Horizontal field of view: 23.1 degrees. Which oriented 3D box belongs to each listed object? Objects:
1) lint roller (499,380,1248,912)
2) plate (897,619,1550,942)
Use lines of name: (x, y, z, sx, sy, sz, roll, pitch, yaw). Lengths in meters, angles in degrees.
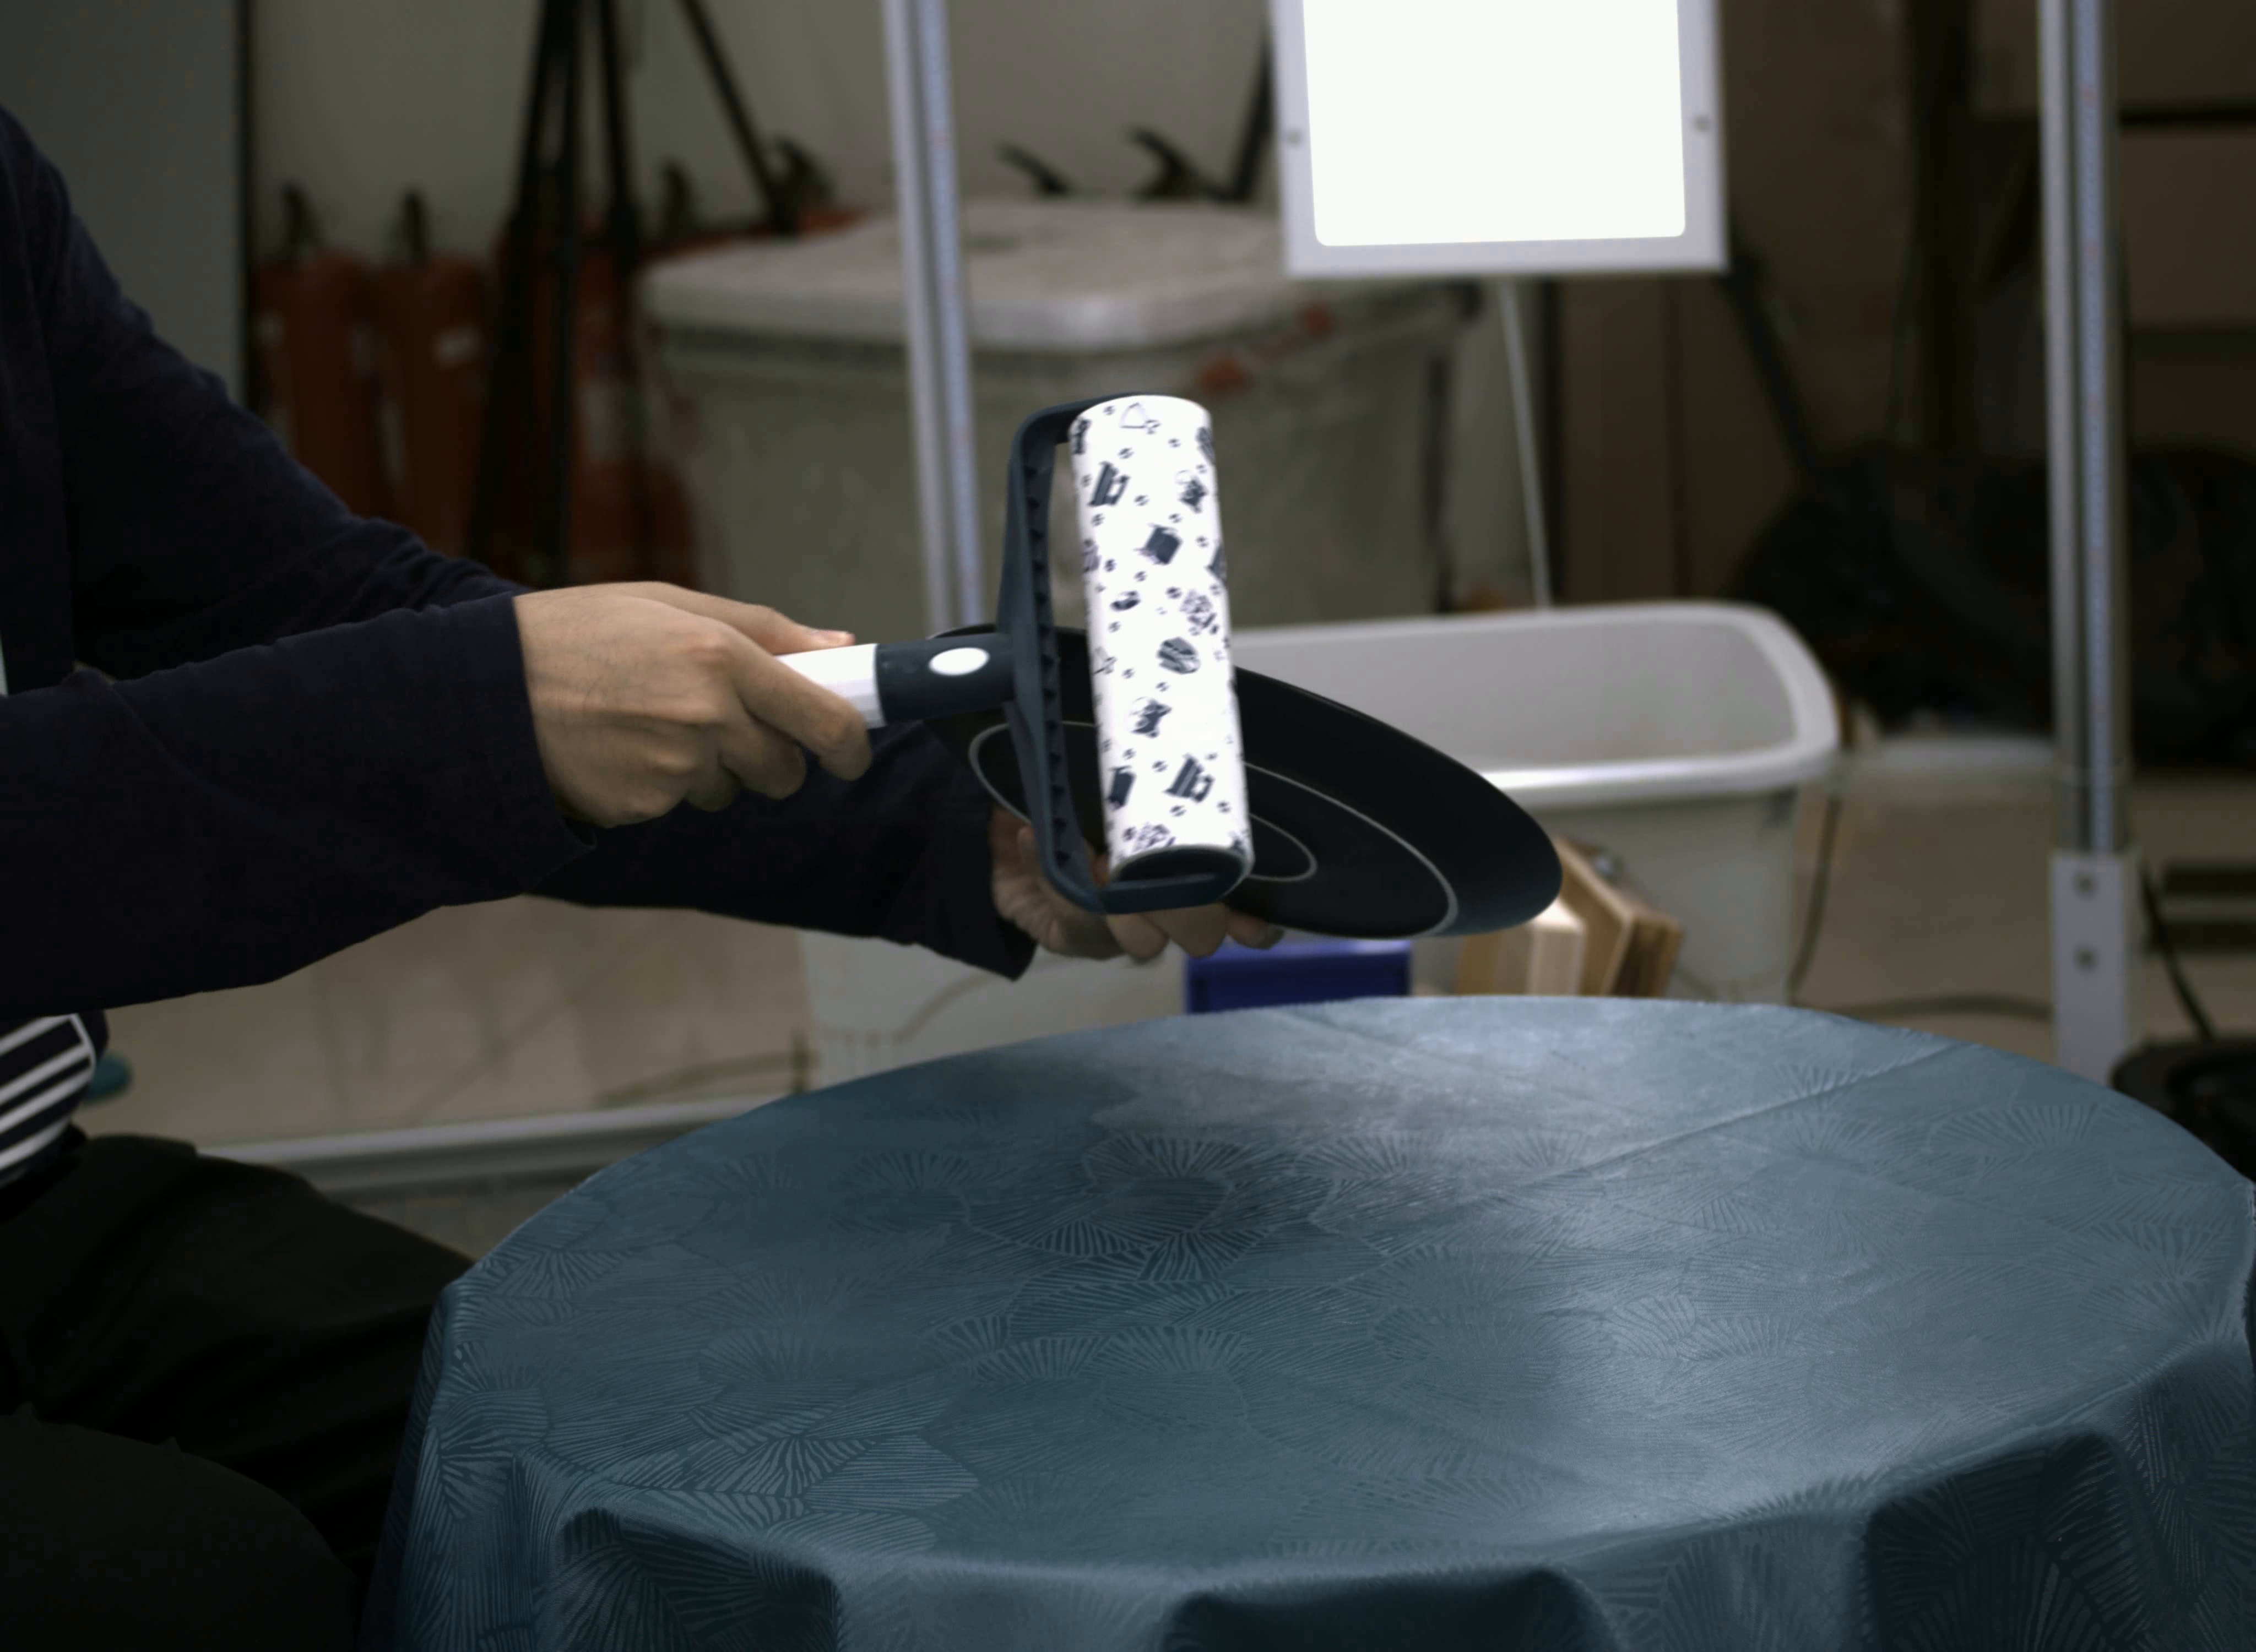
lint roller: (-0.088, -0.045, 1.801, 0.248, 0.176, 0.050, -9, -21, 9)
plate: (0.029, -0.007, 1.920, 0.244, 0.023, 0.245, 19, -17, 4)
